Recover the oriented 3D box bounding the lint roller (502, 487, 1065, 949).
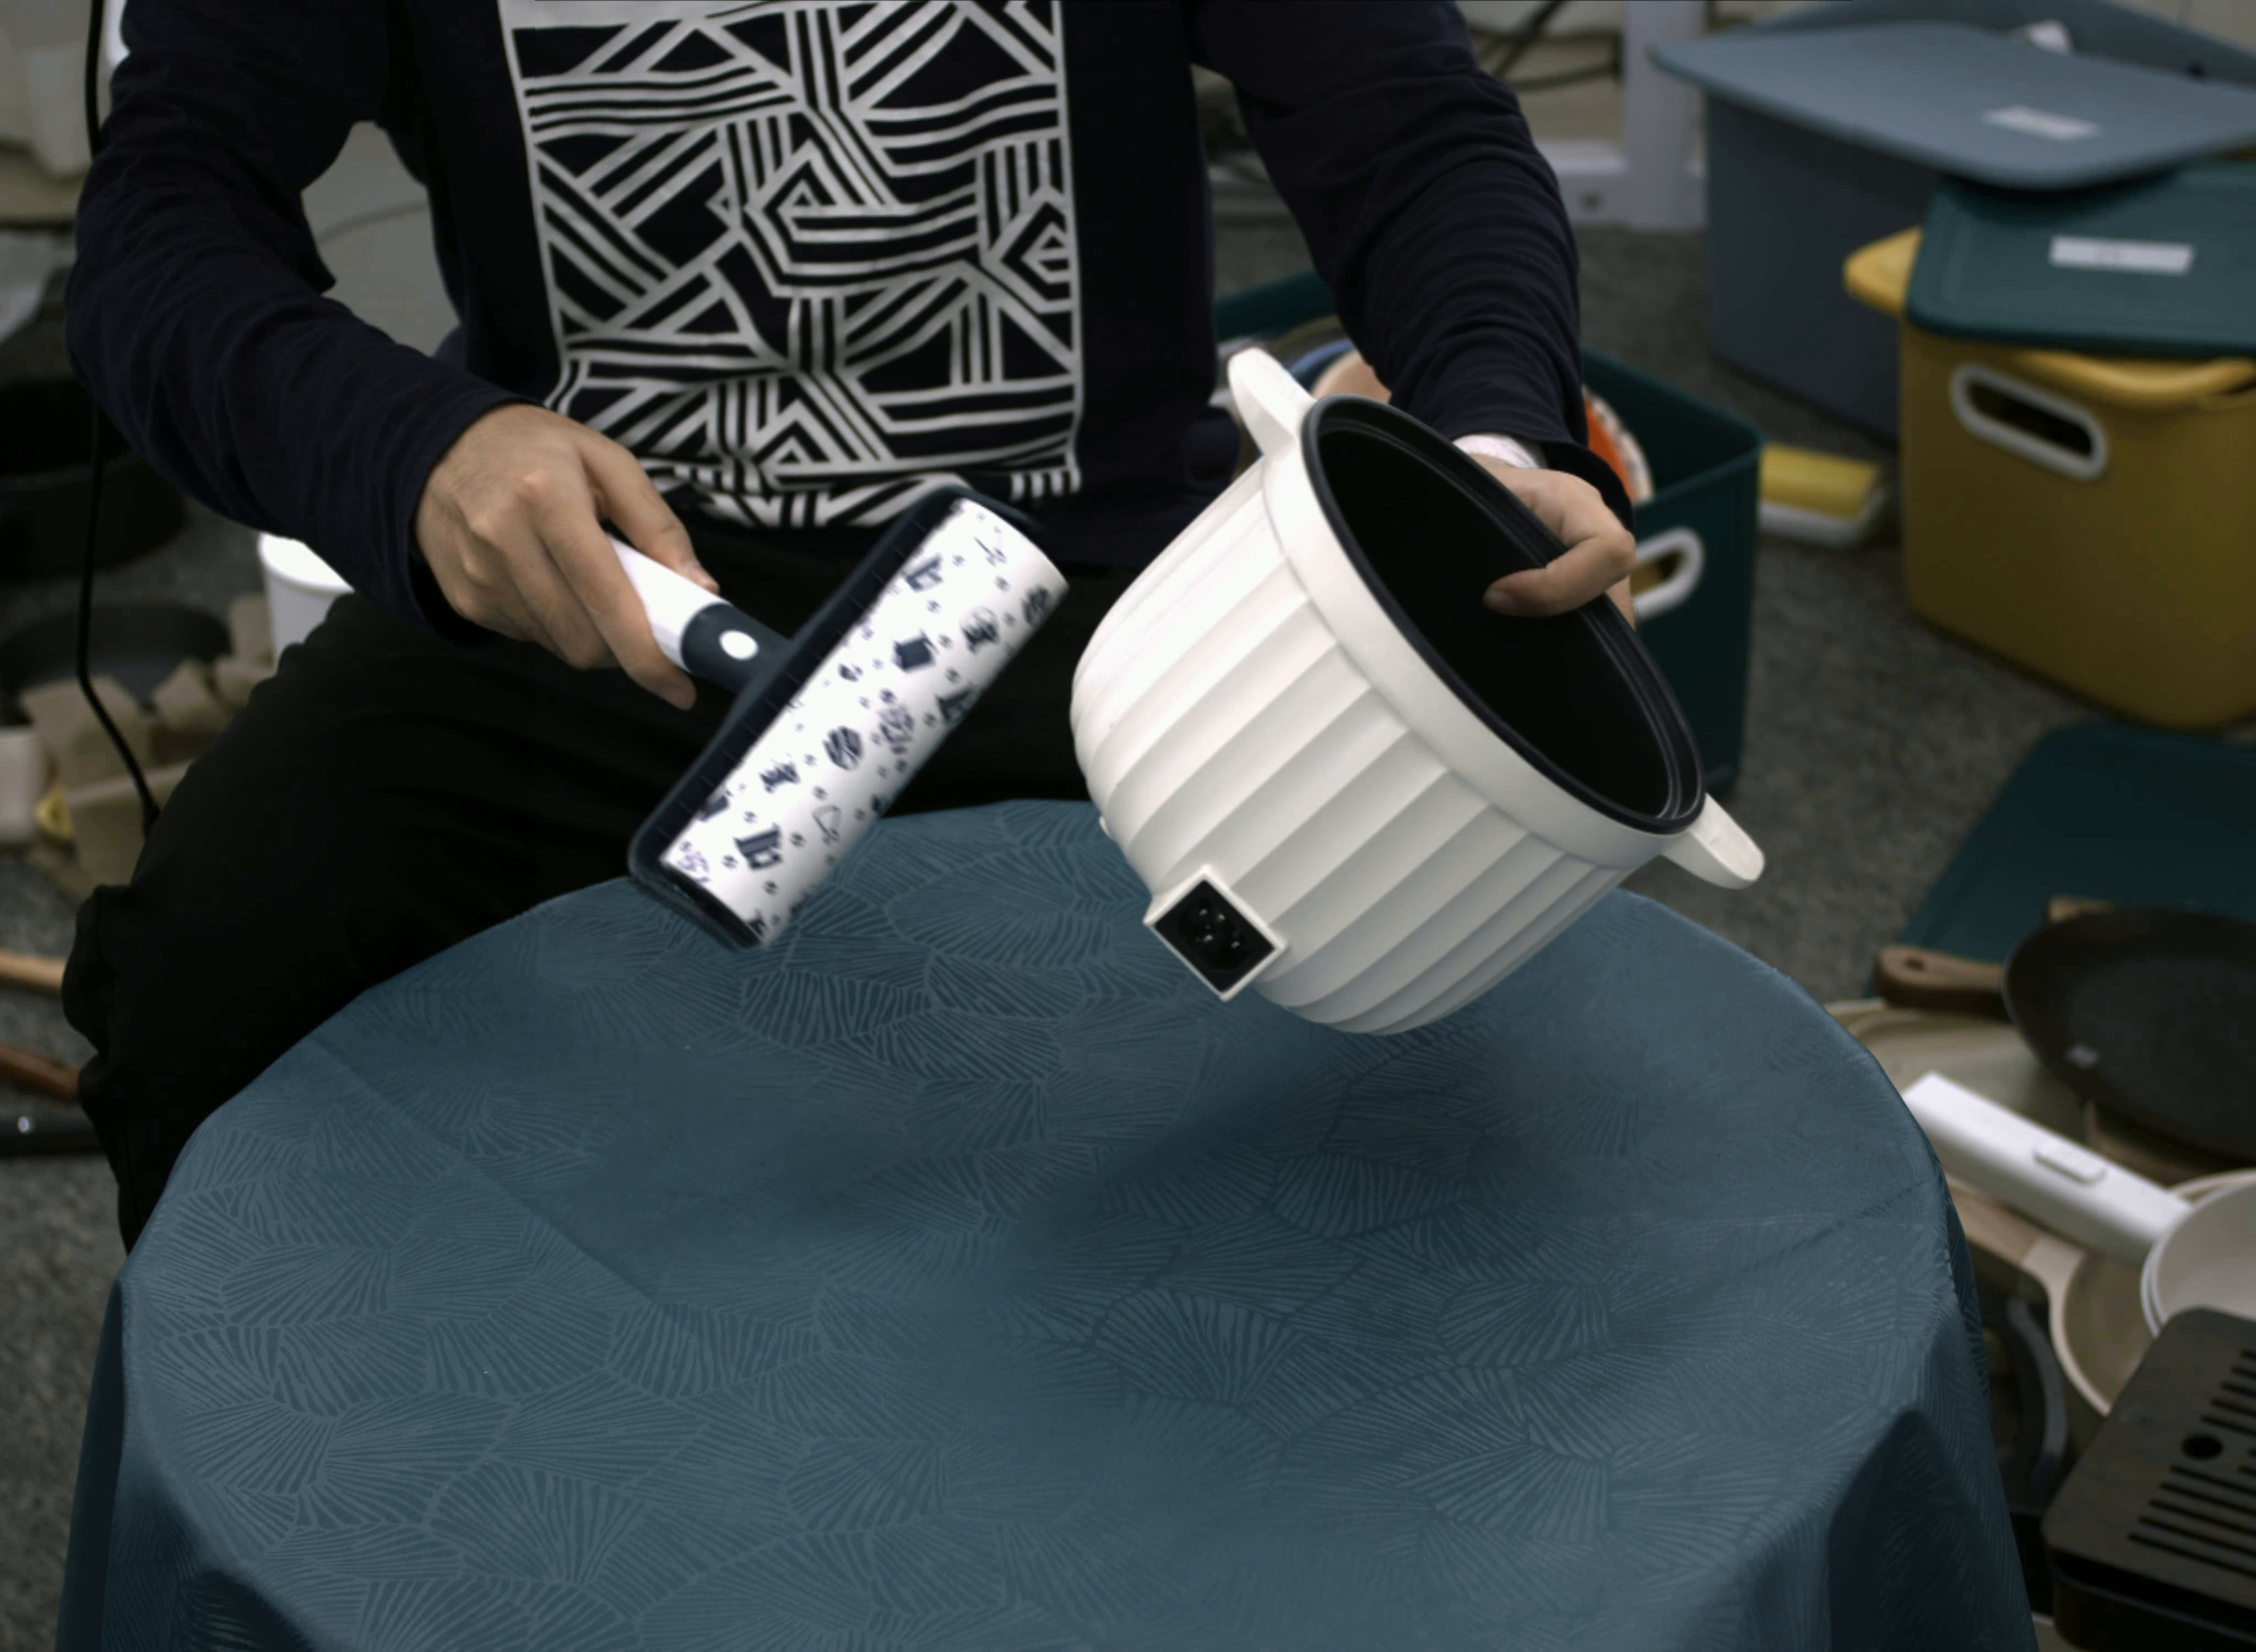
[{"bbox_3d":[-0.150,-0.066,1.950,0.247,0.050,0.178,26,72,44],"label":"lint roller"}]

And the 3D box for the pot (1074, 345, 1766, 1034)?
[{"bbox_3d":[0.077,-0.032,1.822,0.141,0.240,0.193,-41,10,24],"label":"pot"}]
